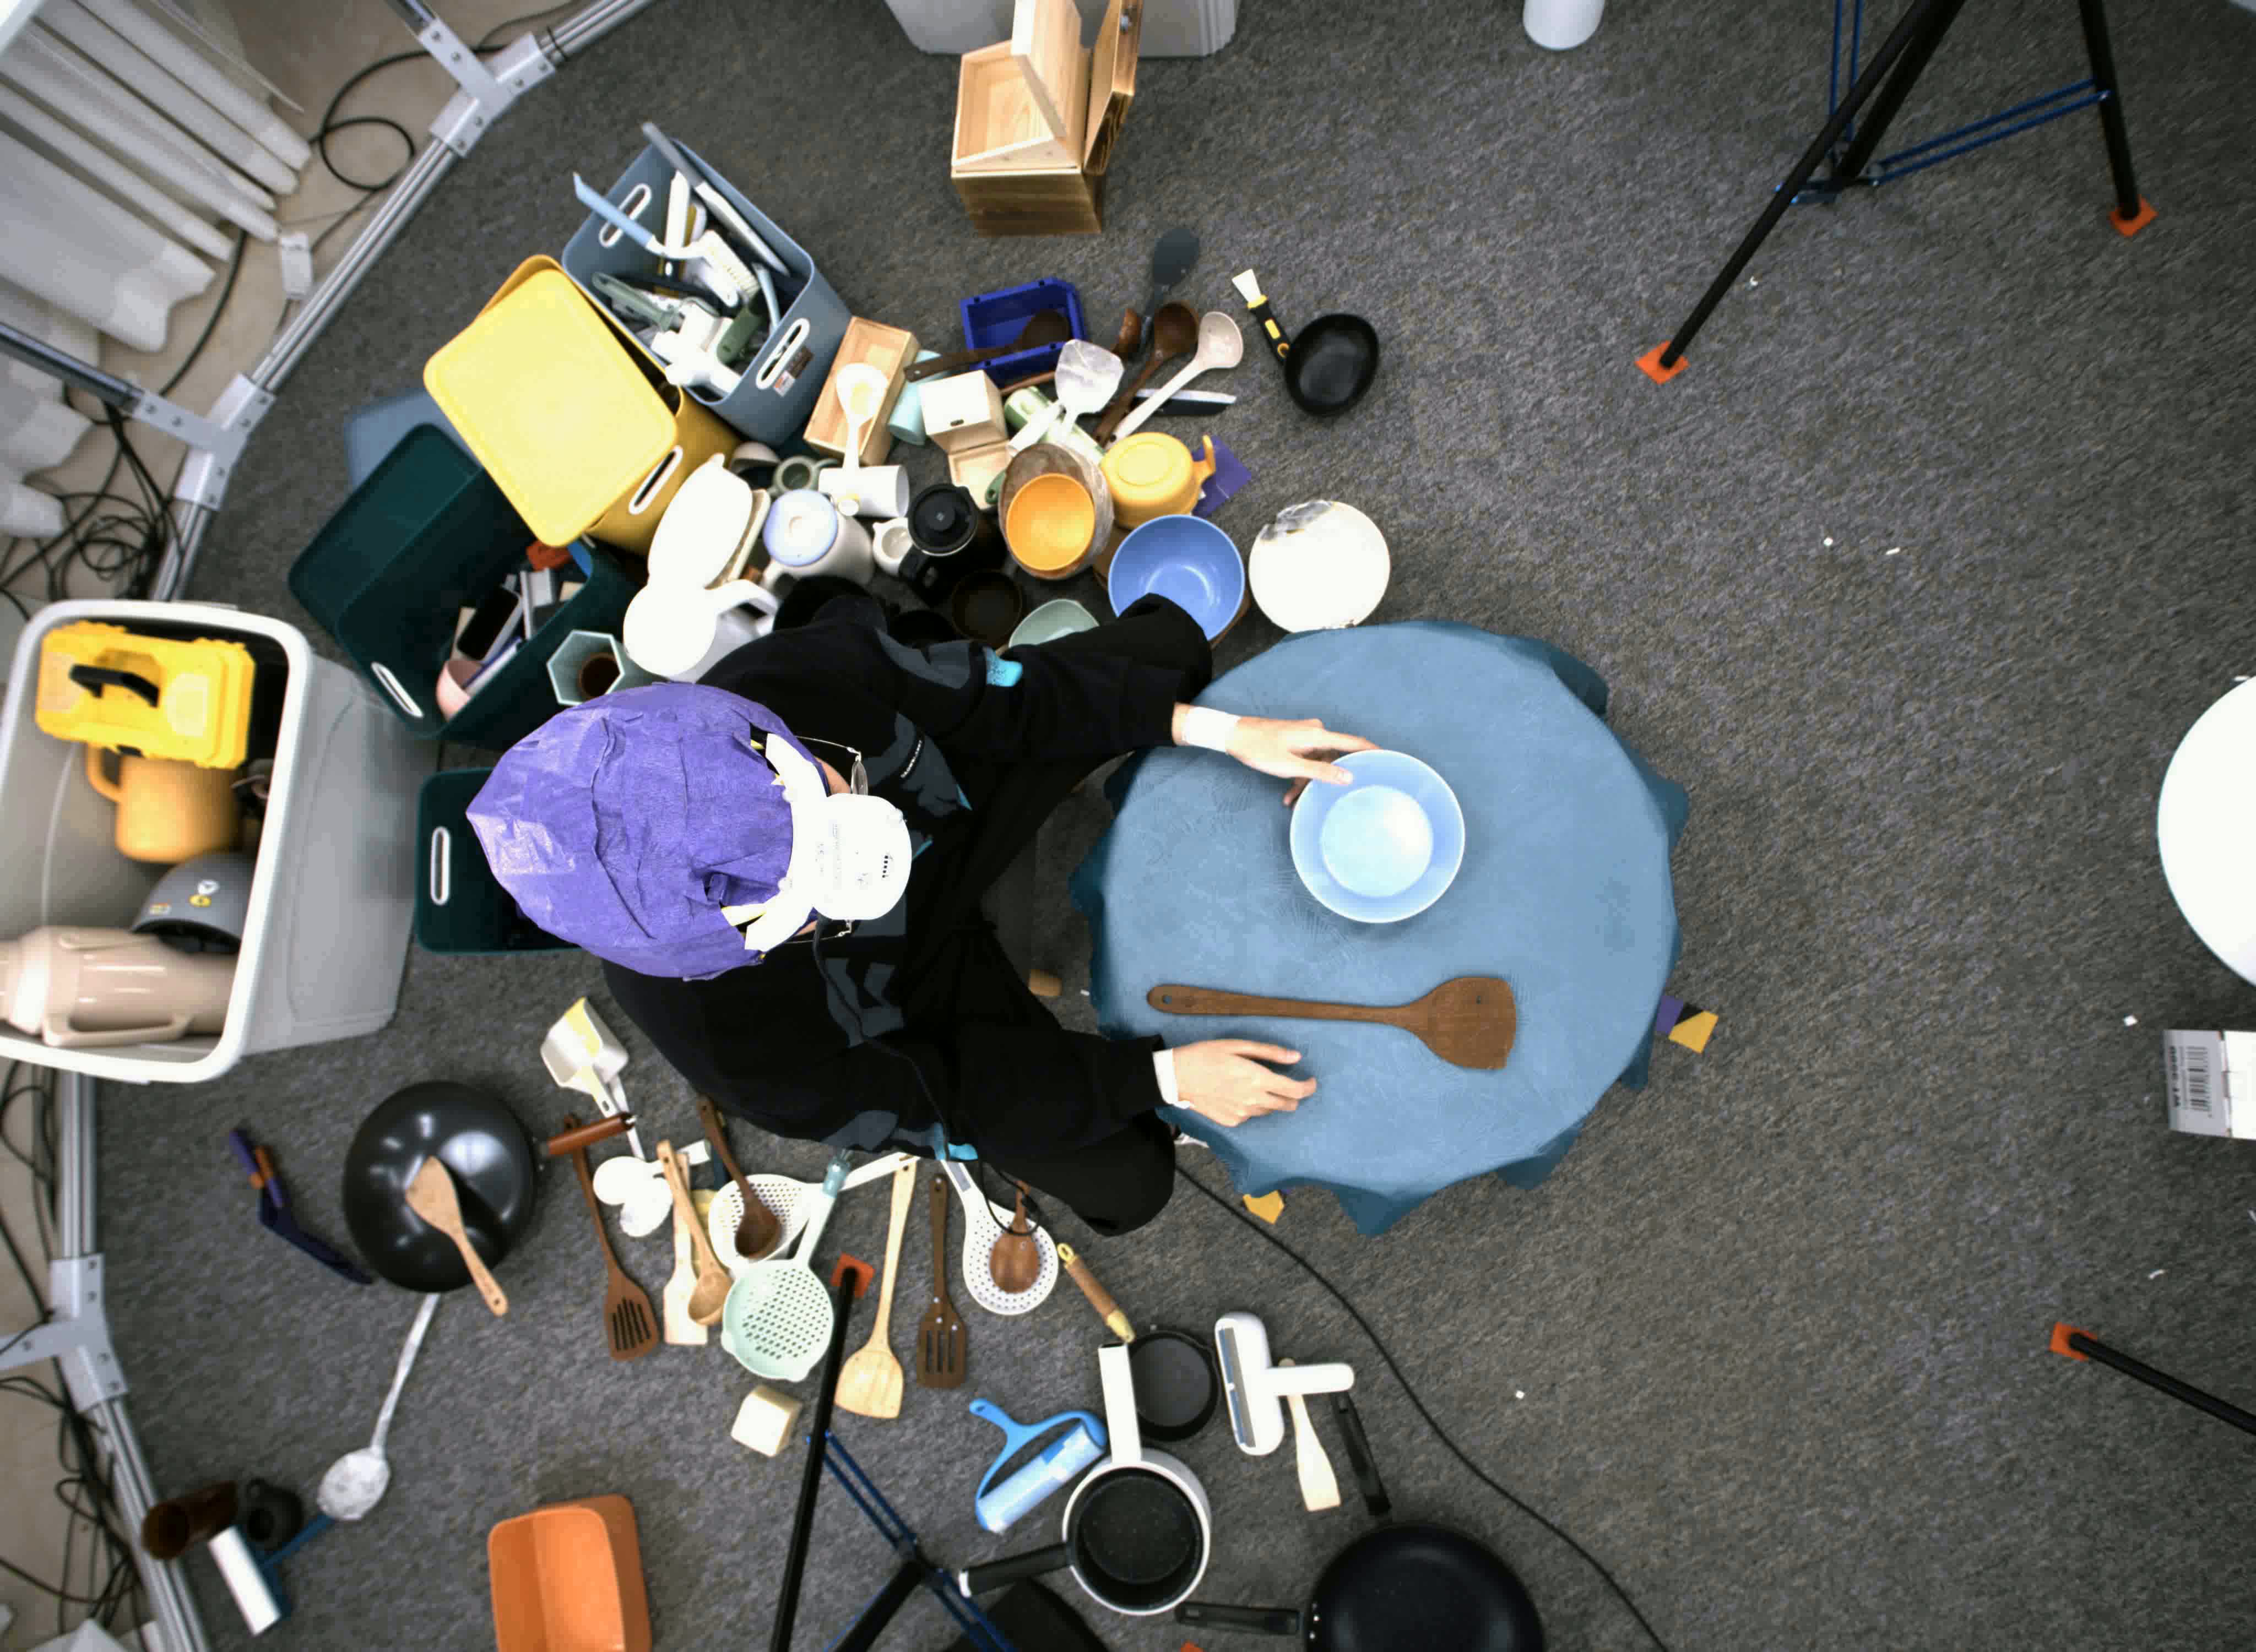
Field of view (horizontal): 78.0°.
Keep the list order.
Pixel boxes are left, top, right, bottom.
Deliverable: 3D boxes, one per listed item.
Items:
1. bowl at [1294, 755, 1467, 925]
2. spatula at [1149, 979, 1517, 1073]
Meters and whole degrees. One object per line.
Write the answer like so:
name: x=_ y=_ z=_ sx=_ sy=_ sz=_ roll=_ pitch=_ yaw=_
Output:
bowl: x=0.262 y=0.016 z=1.435 sx=0.177 sy=0.070 sz=0.175 roll=-1 pitch=86 yaw=11
spatula: x=0.212 y=0.197 z=1.460 sx=0.387 sy=0.016 sz=0.095 roll=3 pitch=86 yaw=11
